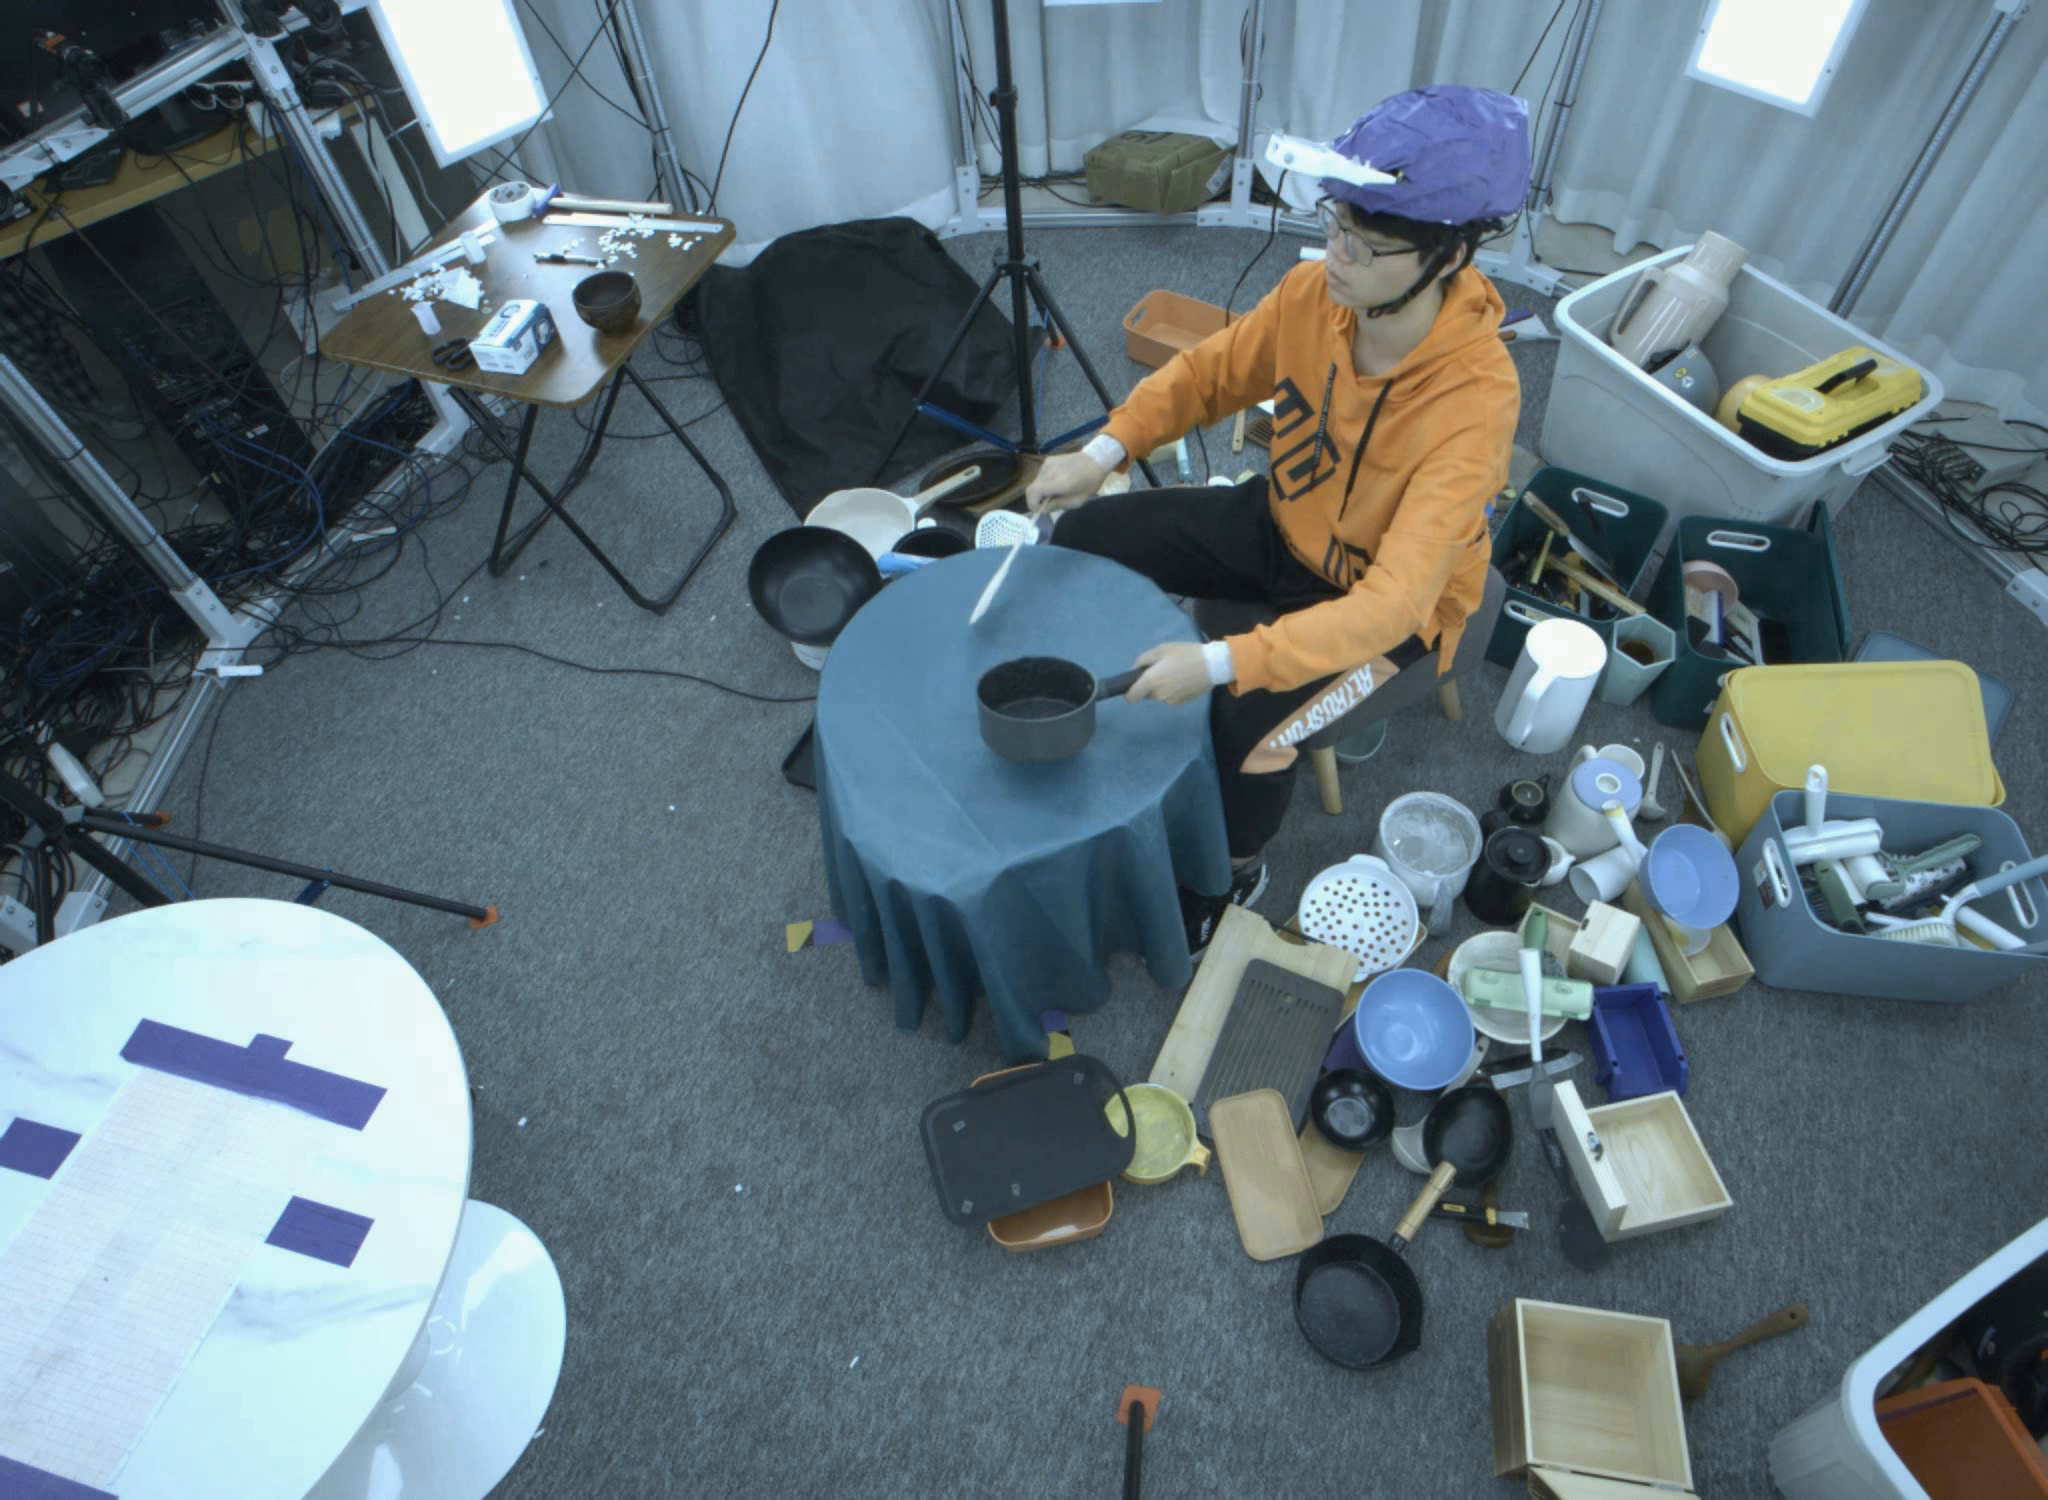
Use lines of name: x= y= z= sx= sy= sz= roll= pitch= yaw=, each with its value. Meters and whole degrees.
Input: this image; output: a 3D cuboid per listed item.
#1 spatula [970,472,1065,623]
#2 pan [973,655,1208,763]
spatula: x=-0.008 y=-0.323 z=1.915 sx=0.011 sy=0.071 sz=0.293 roll=33 pitch=72 yaw=-11
pan: x=0.096 y=-0.070 z=1.723 sx=0.330 sy=0.087 sz=0.169 roll=-9 pitch=38 yaw=-7
